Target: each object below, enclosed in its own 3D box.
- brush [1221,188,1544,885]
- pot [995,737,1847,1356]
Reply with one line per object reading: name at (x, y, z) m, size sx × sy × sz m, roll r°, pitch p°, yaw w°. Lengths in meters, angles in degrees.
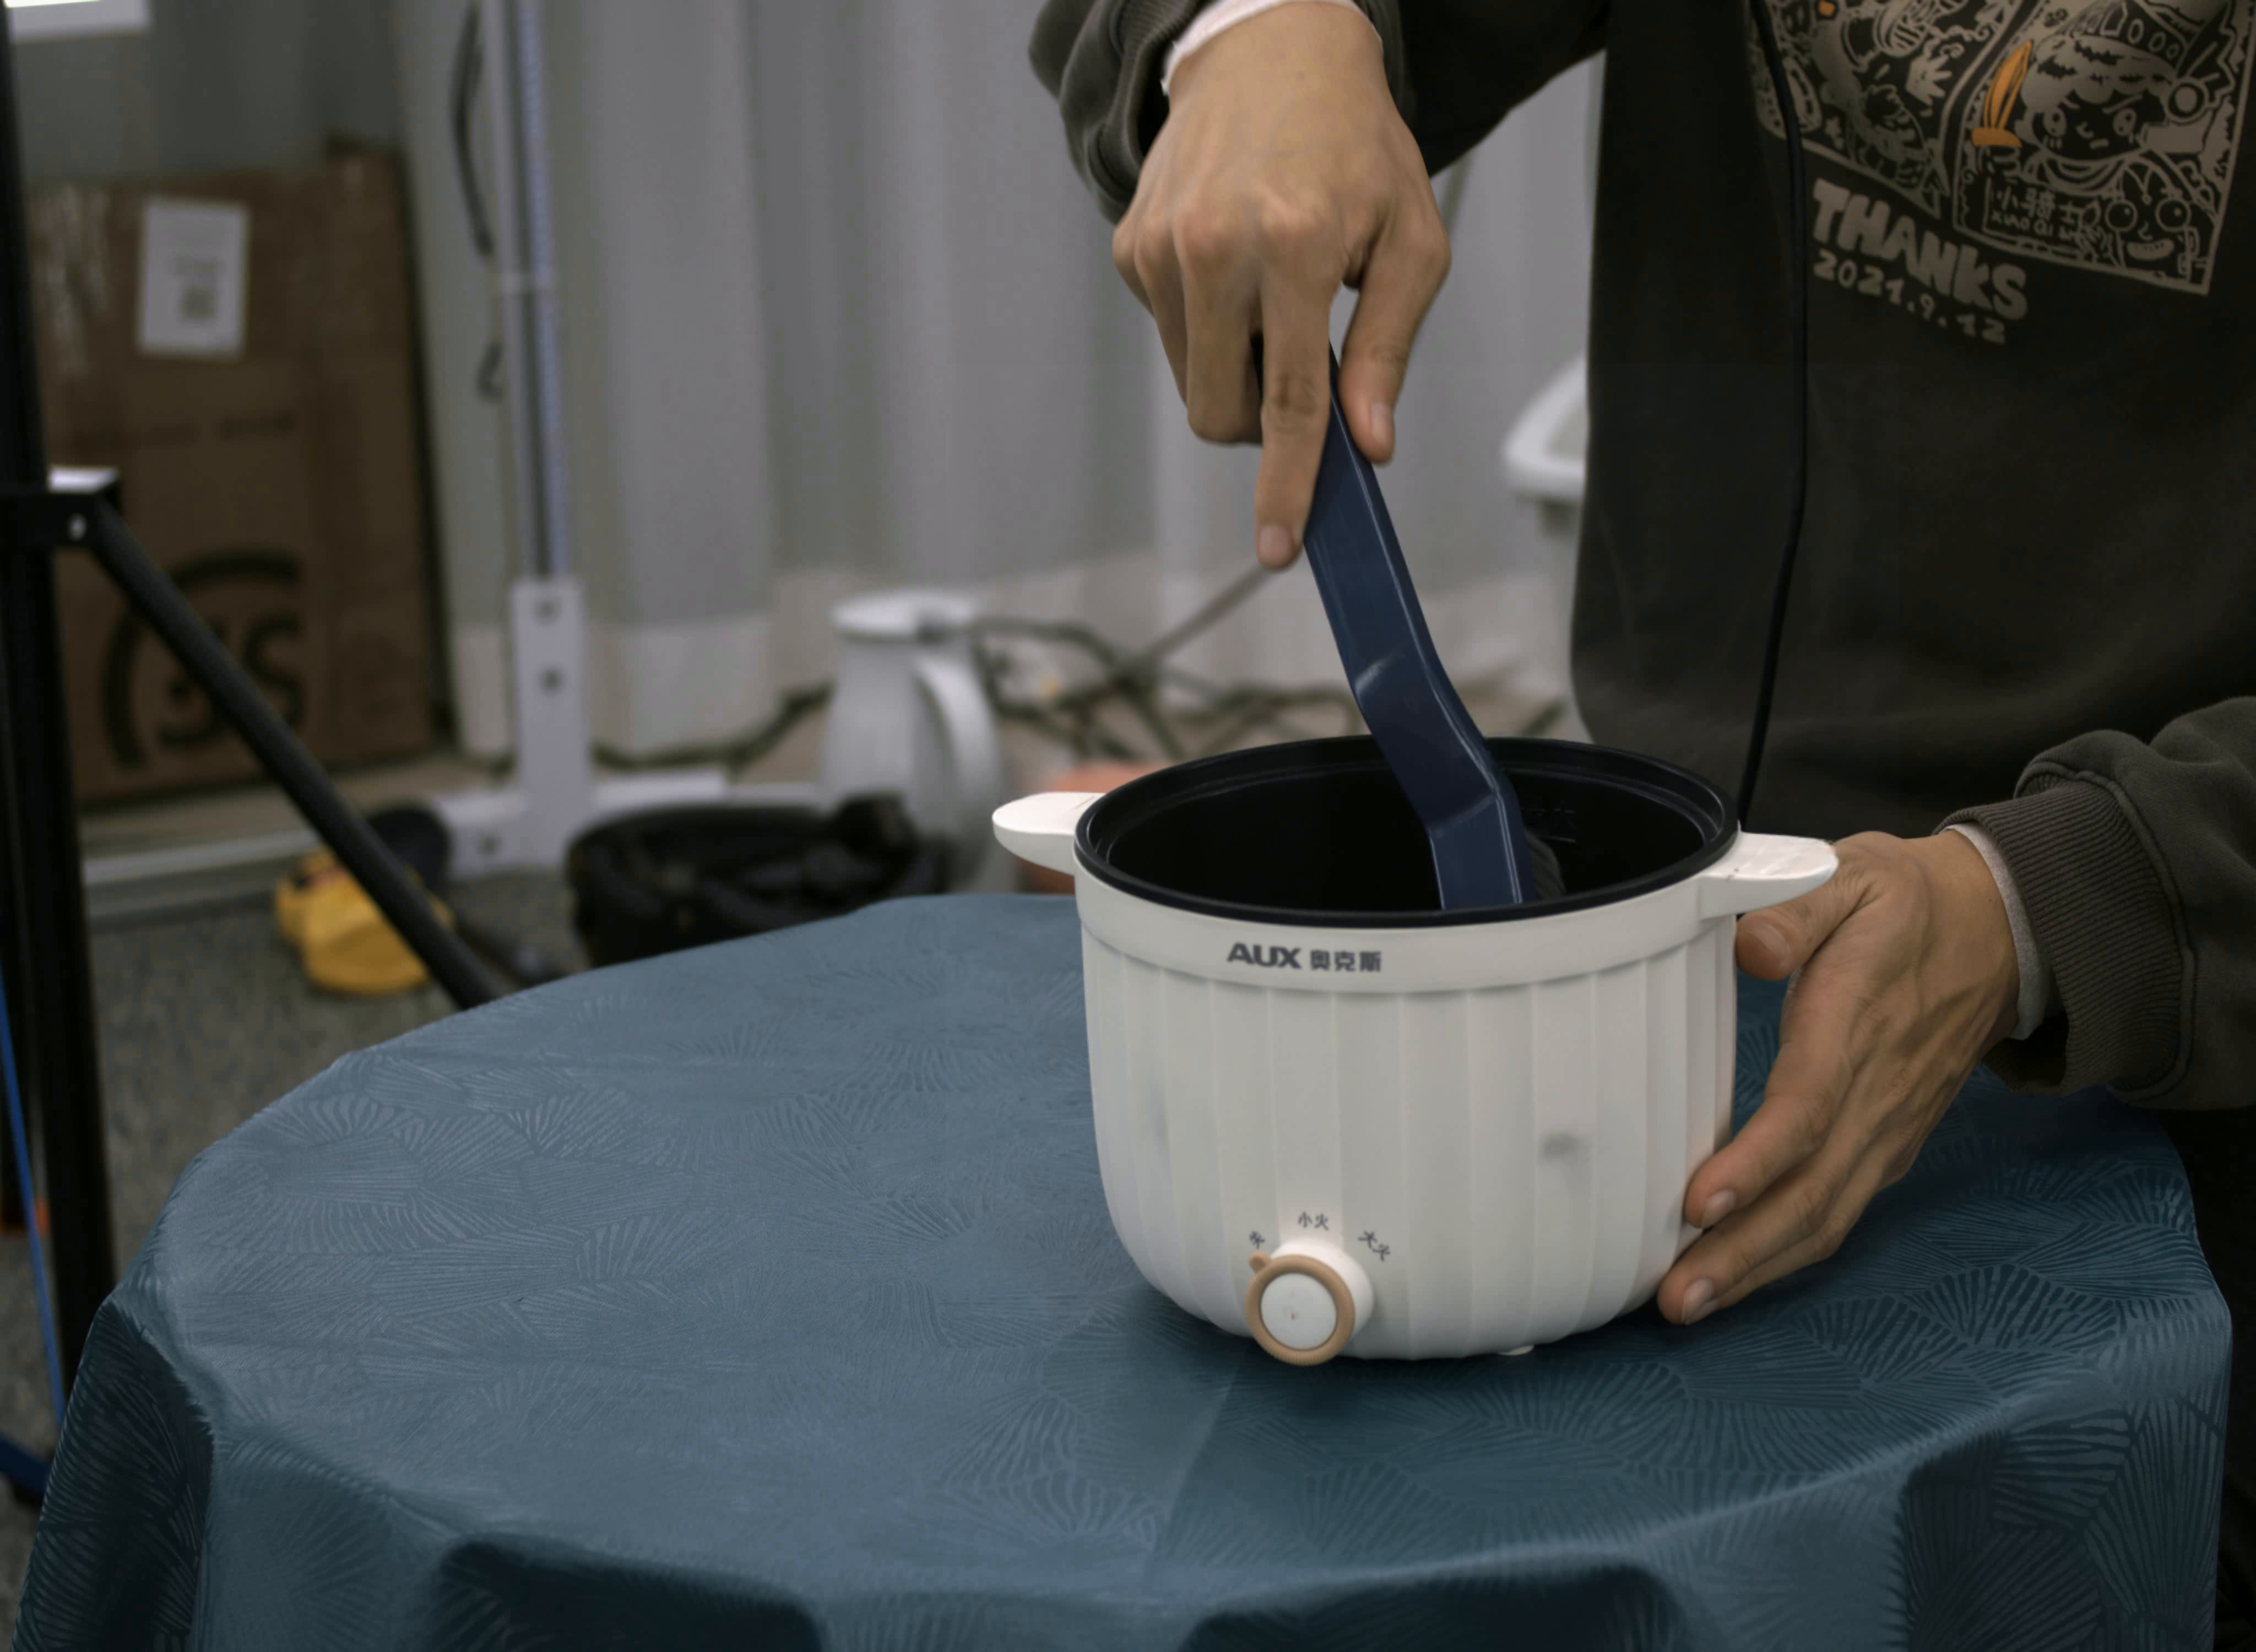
brush at (0.067, -0.060, 1.484) m, size 0.034 × 0.277 × 0.093 m, roll -31°, pitch -24°, yaw 27°
pot at (0.078, 0.063, 1.452) m, size 0.243 × 0.143 × 0.188 m, roll 2°, pitch 12°, yaw 22°
